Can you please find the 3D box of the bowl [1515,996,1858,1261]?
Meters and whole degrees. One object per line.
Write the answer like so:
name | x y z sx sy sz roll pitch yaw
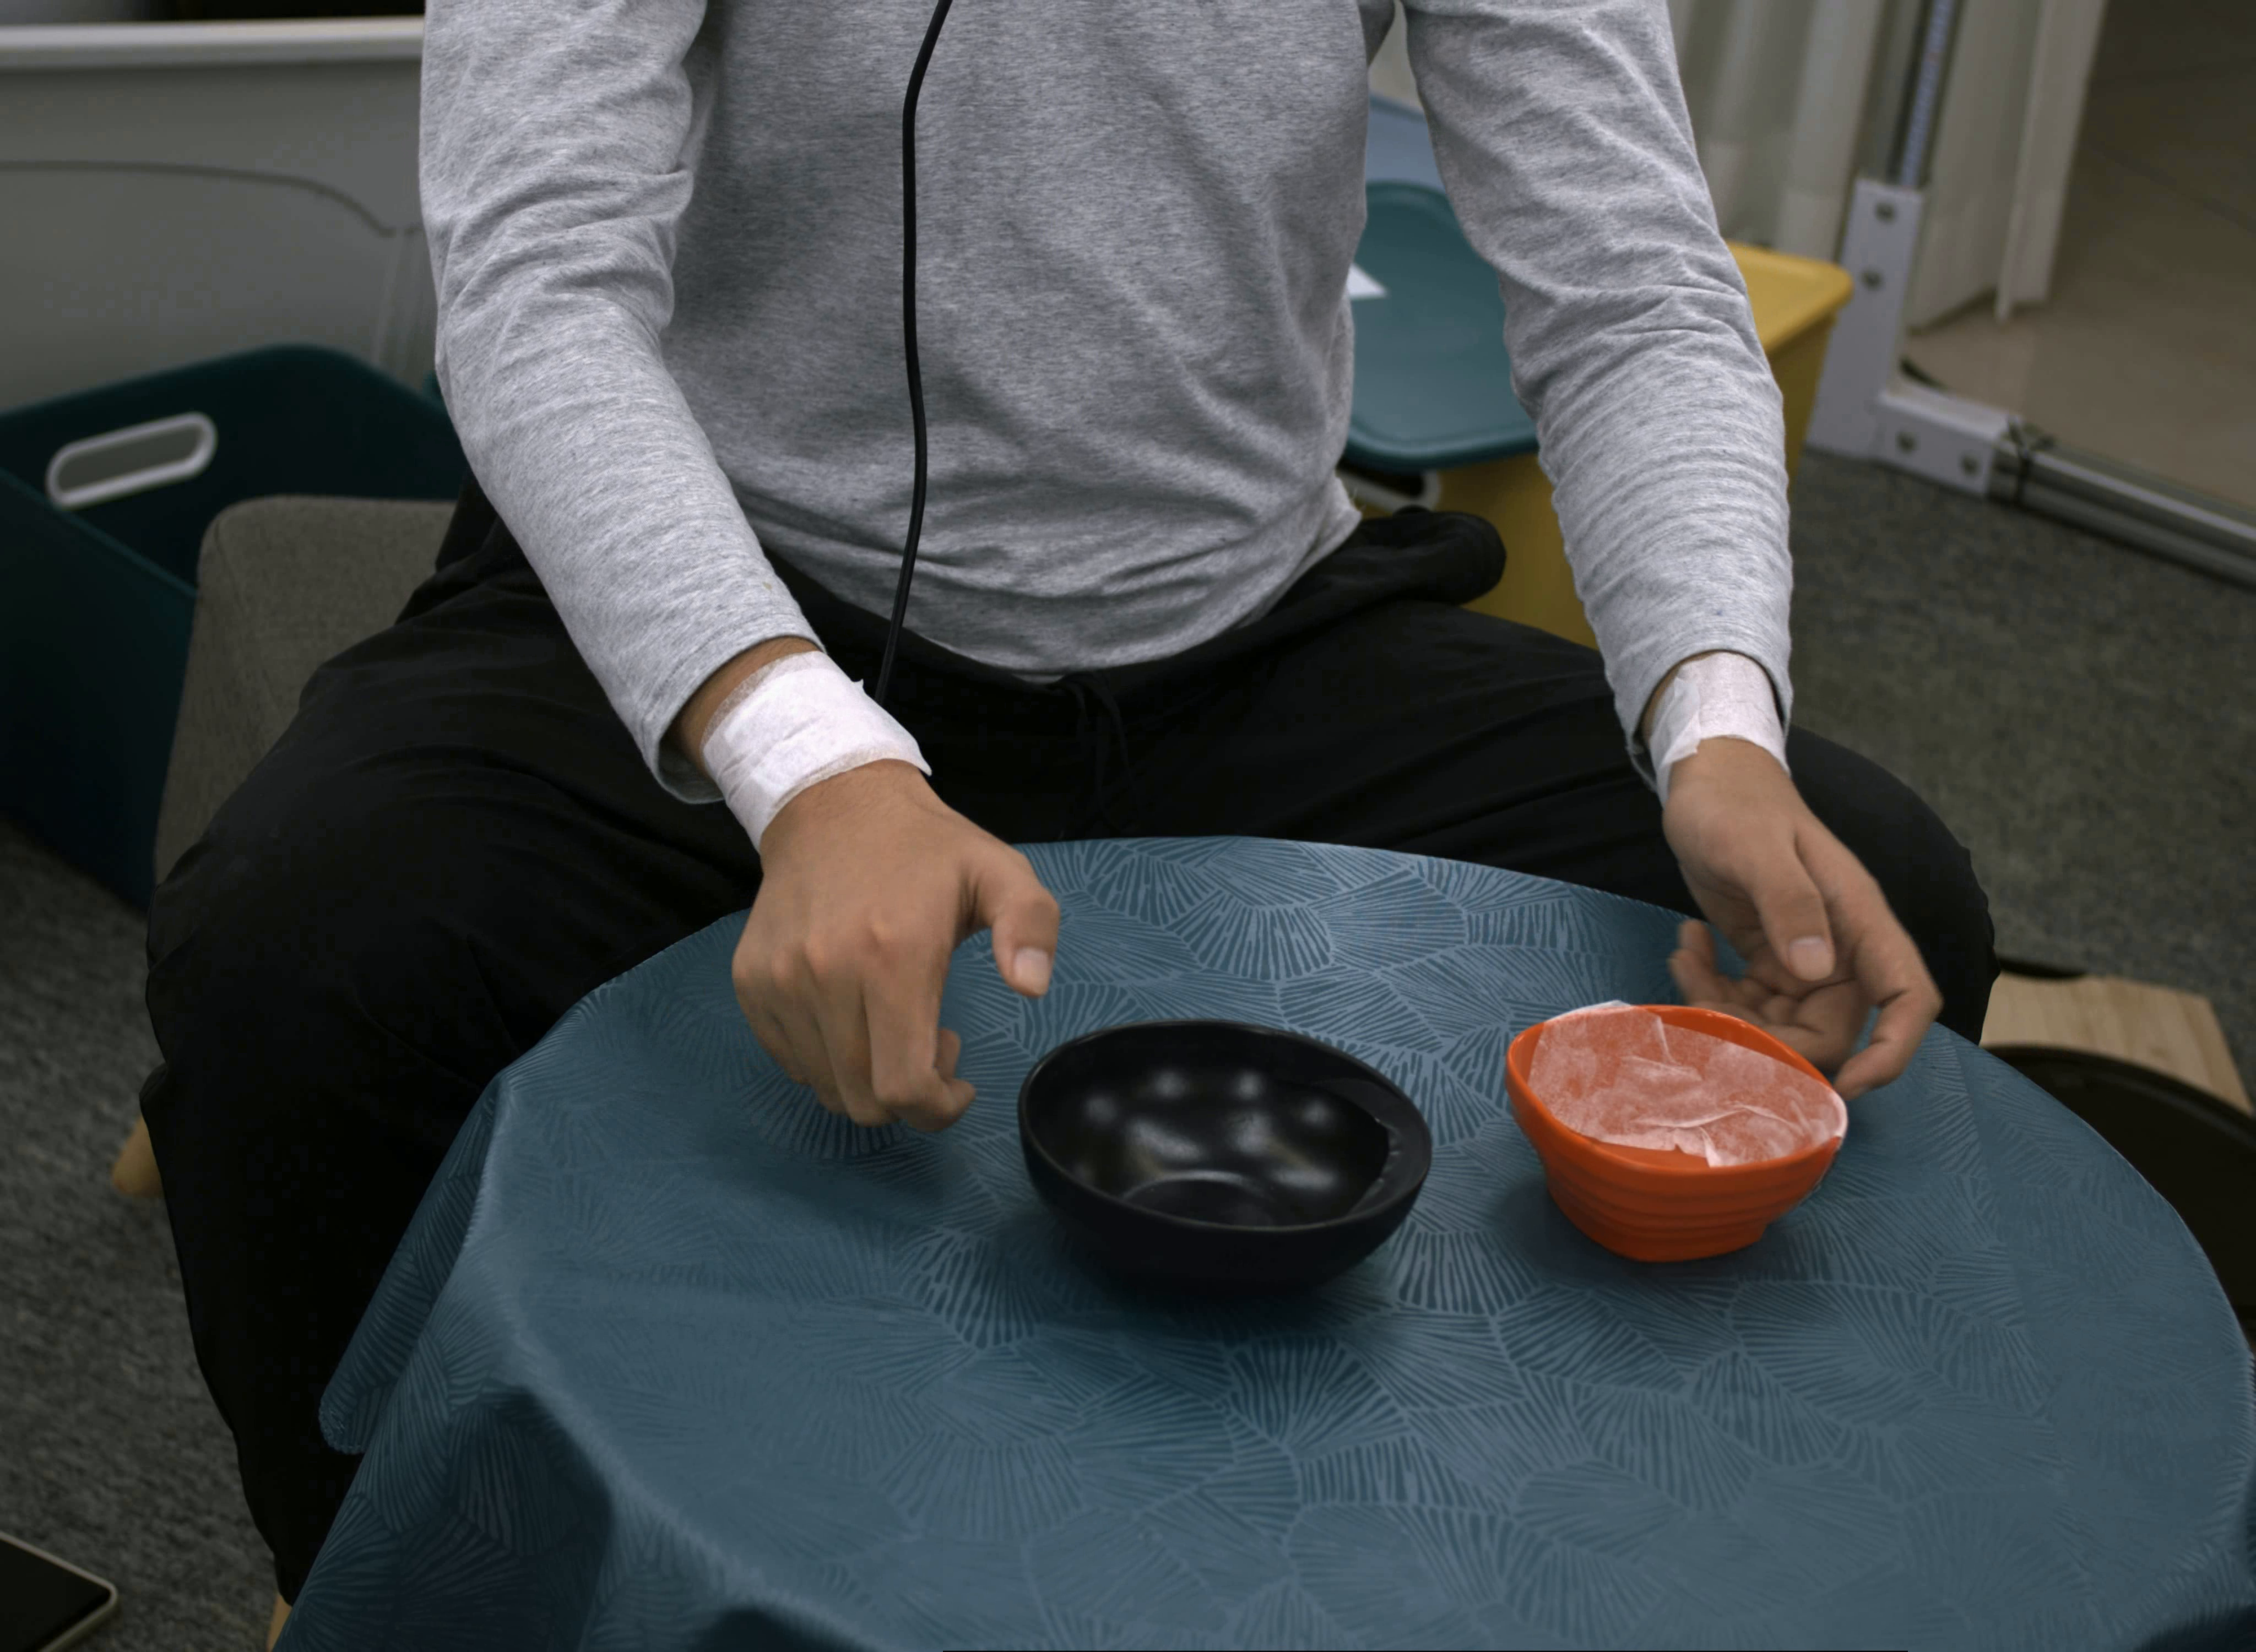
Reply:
bowl | 0.187 0.108 1.819 0.118 0.051 0.119 5 29 -3

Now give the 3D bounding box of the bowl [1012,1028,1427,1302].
bowl | 0.028 0.120 1.769 0.139 0.049 0.141 5 24 -3
